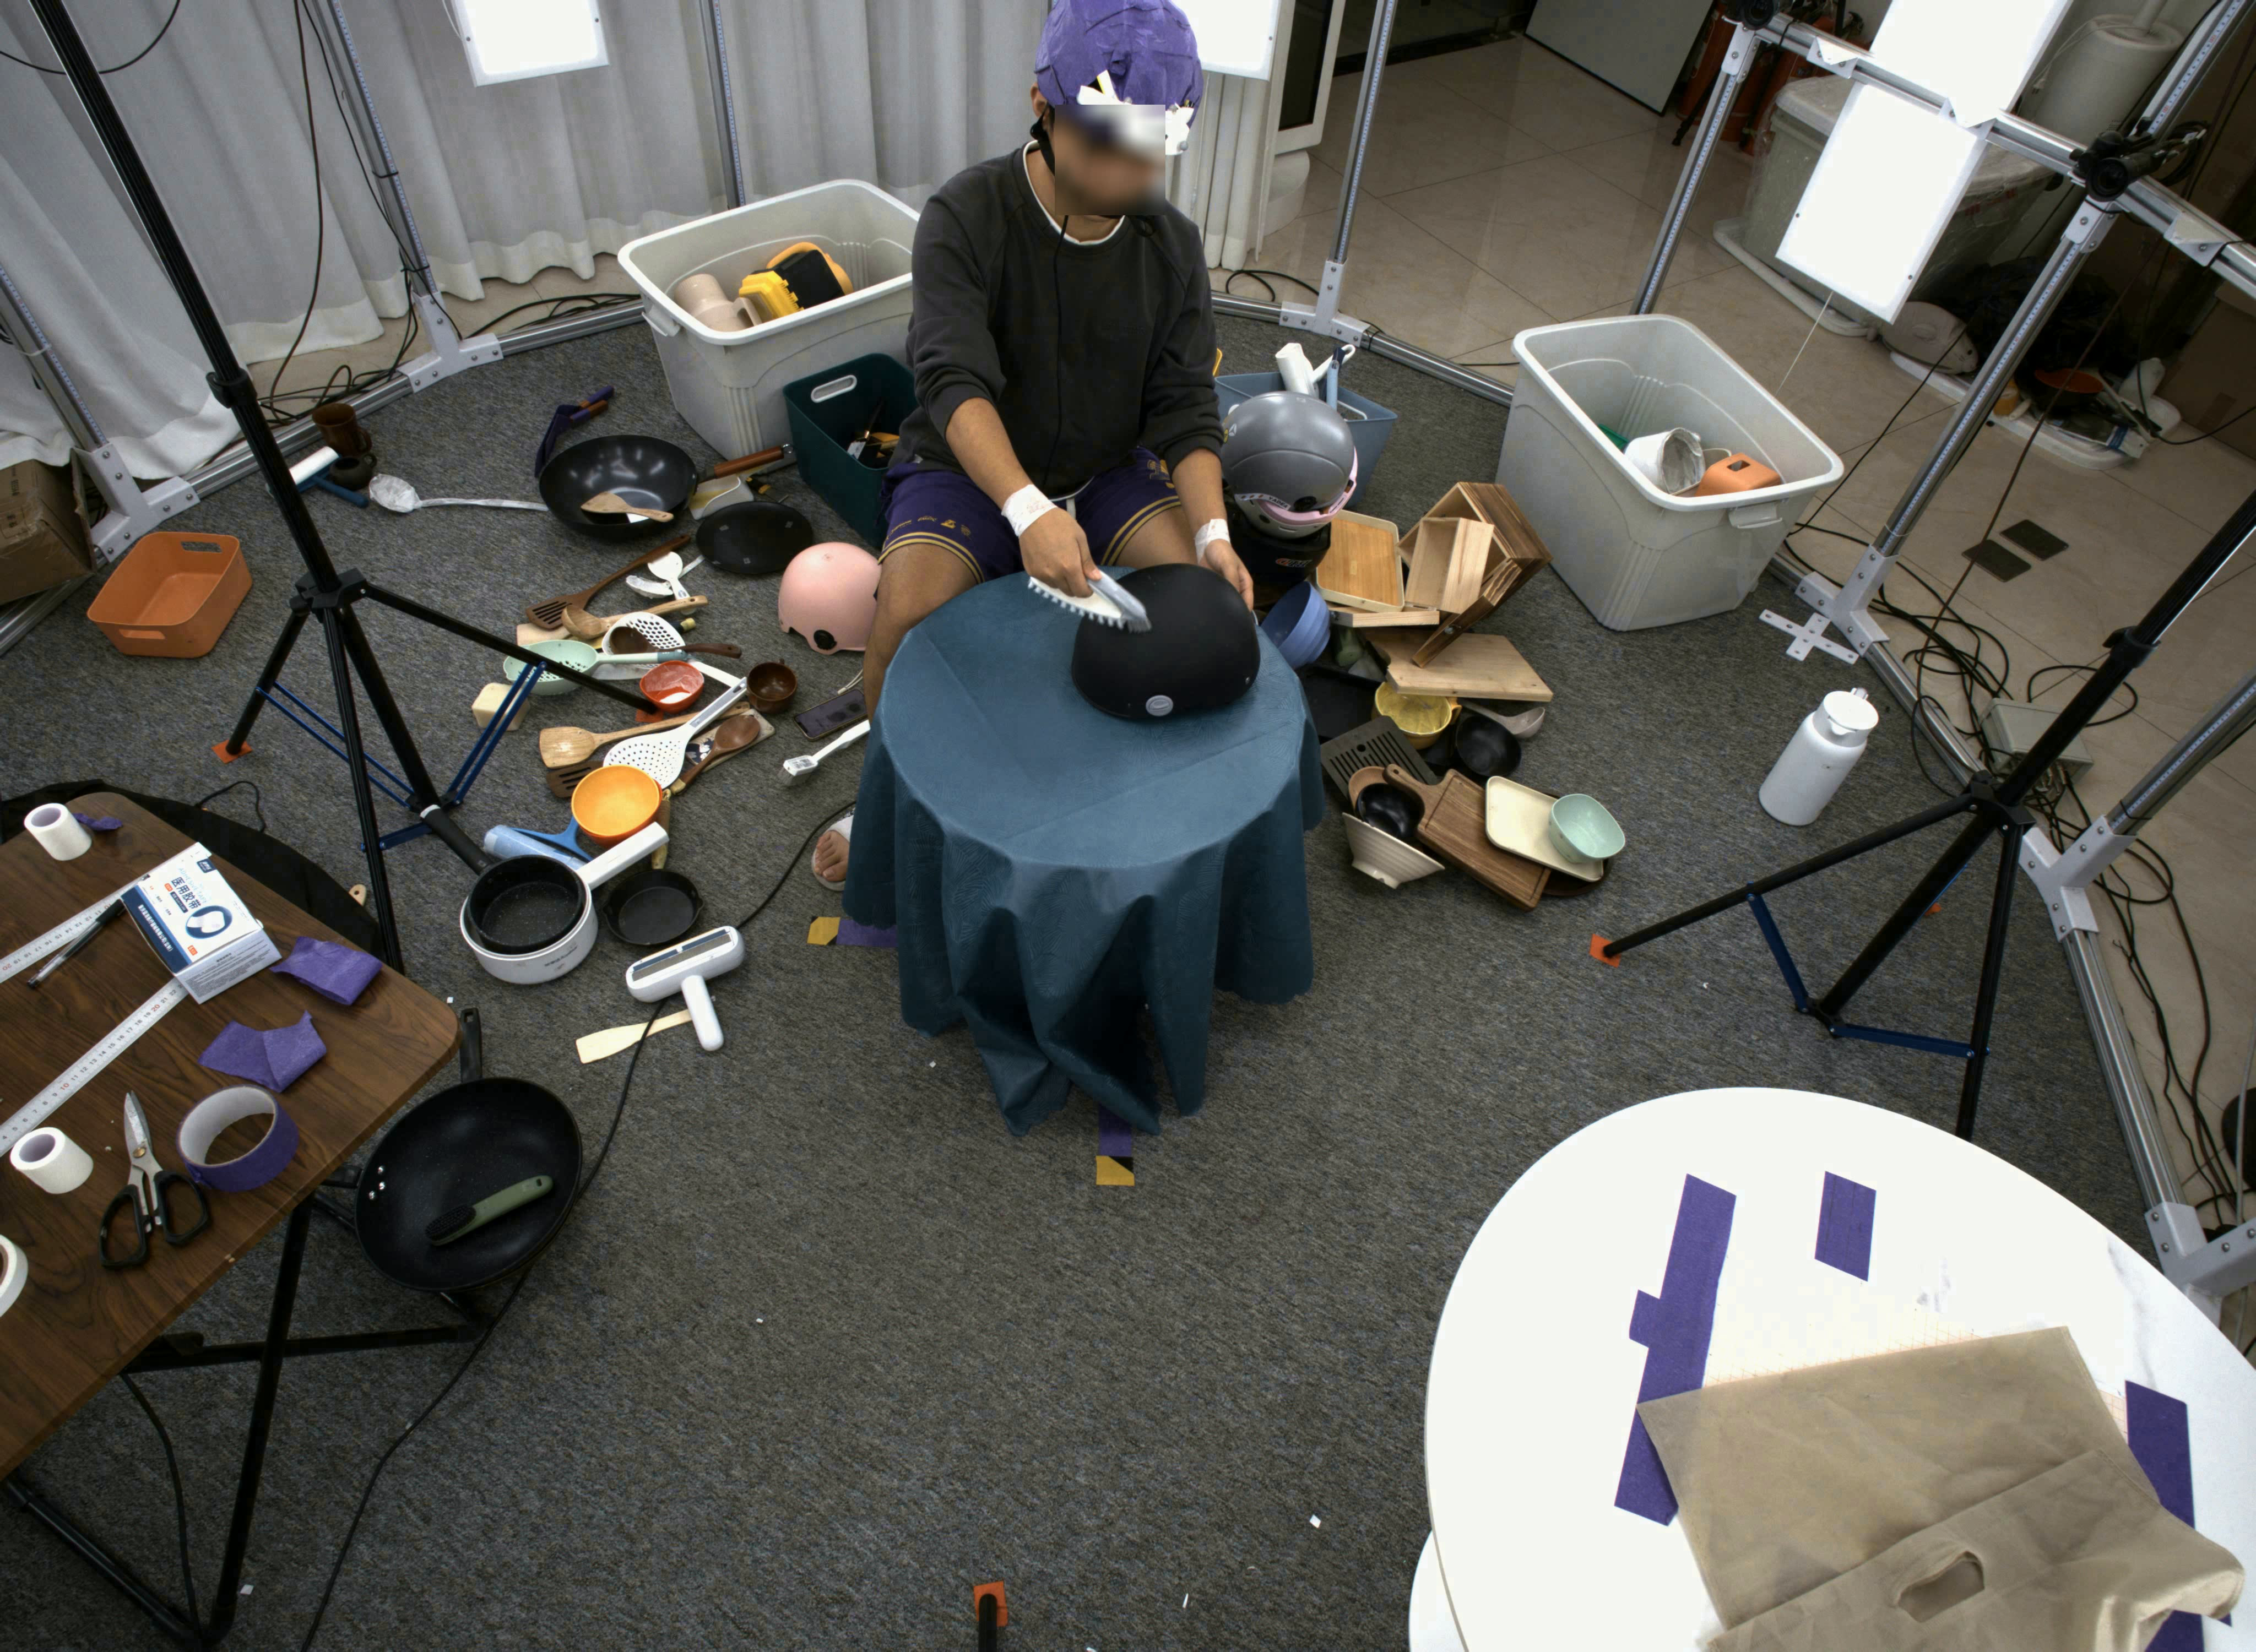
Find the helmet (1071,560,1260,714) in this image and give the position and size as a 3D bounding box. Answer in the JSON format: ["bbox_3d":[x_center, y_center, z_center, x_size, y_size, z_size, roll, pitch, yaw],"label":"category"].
[{"bbox_3d":[0.055,-0.281,1.811,0.273,0.163,0.236,-9,50,-9],"label":"helmet"}]

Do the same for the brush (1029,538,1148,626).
[{"bbox_3d":[-0.047,-0.322,1.694,0.176,0.093,0.062,31,79,3],"label":"brush"}]
